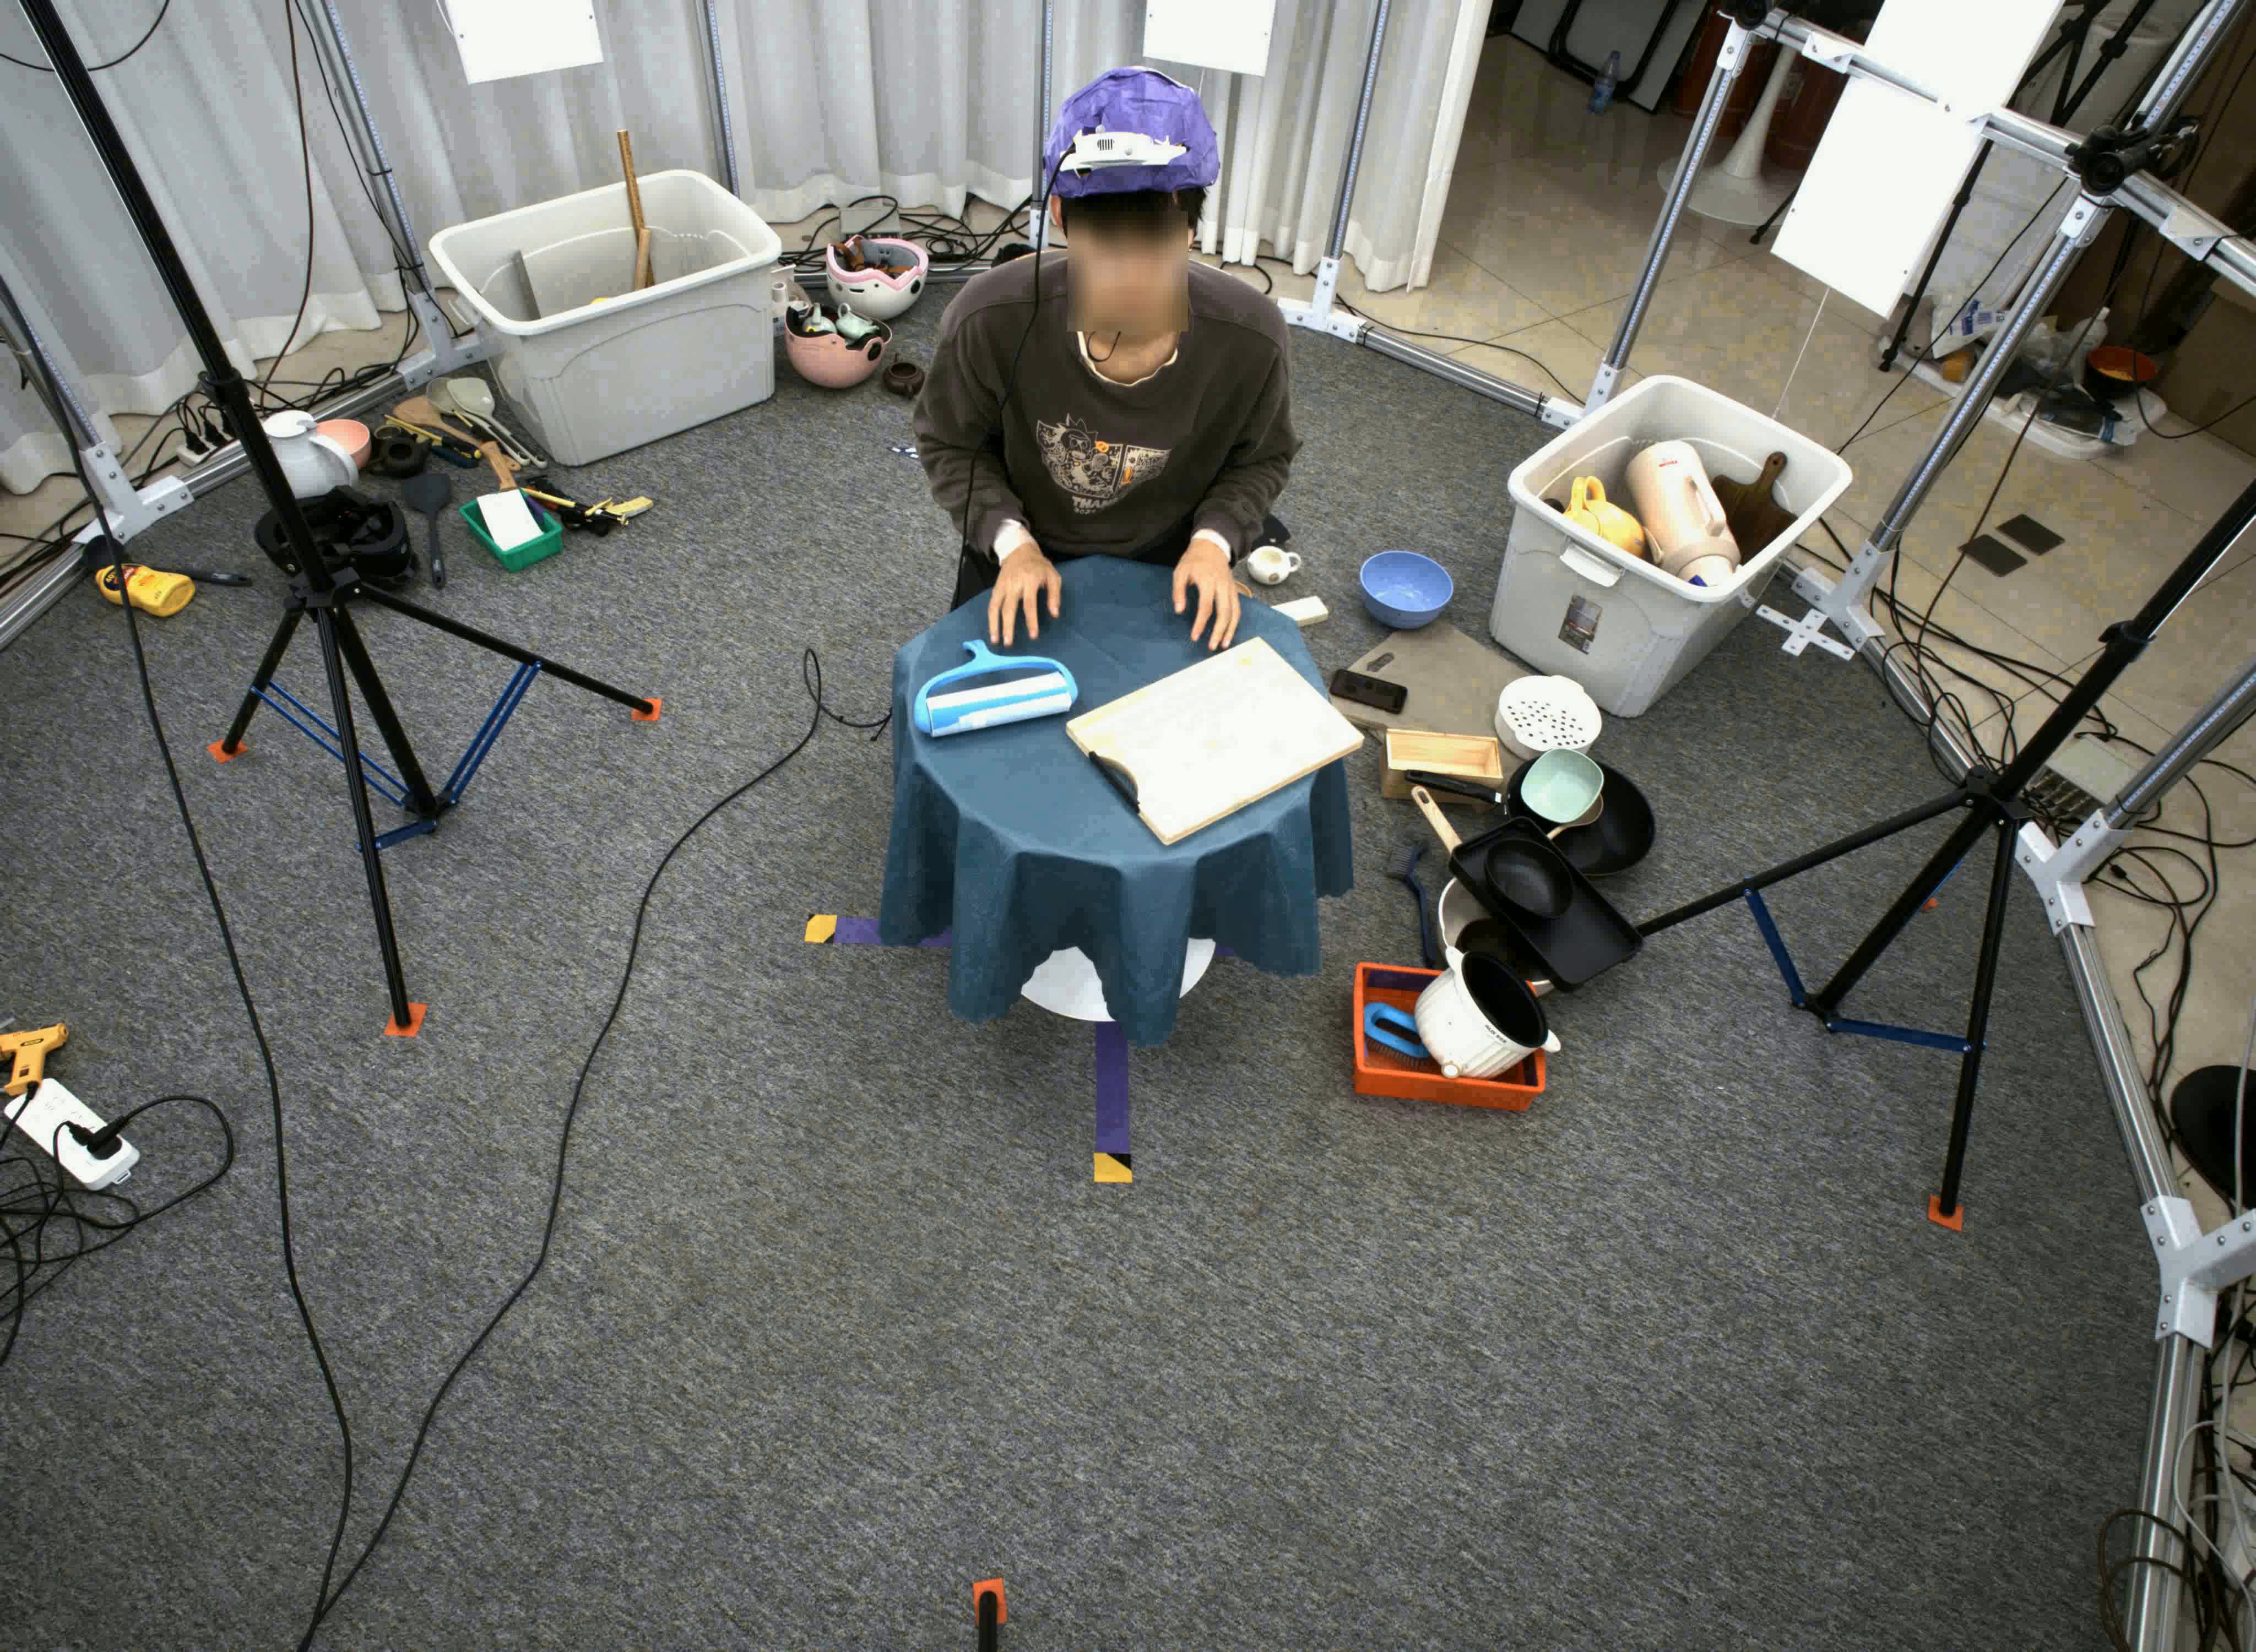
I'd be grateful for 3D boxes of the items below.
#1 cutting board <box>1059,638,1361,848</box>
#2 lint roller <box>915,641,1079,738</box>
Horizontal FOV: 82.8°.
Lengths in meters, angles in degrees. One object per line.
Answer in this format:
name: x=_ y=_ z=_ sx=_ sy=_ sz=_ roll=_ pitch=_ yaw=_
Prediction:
cutting board: x=0.115 y=-0.124 z=1.770 sx=0.350 sy=0.023 sz=0.255 roll=-27 pitch=55 yaw=-24
lint roller: x=-0.198 y=-0.211 z=1.800 sx=0.229 sy=0.066 sz=0.184 roll=-14 pitch=53 yaw=-14
